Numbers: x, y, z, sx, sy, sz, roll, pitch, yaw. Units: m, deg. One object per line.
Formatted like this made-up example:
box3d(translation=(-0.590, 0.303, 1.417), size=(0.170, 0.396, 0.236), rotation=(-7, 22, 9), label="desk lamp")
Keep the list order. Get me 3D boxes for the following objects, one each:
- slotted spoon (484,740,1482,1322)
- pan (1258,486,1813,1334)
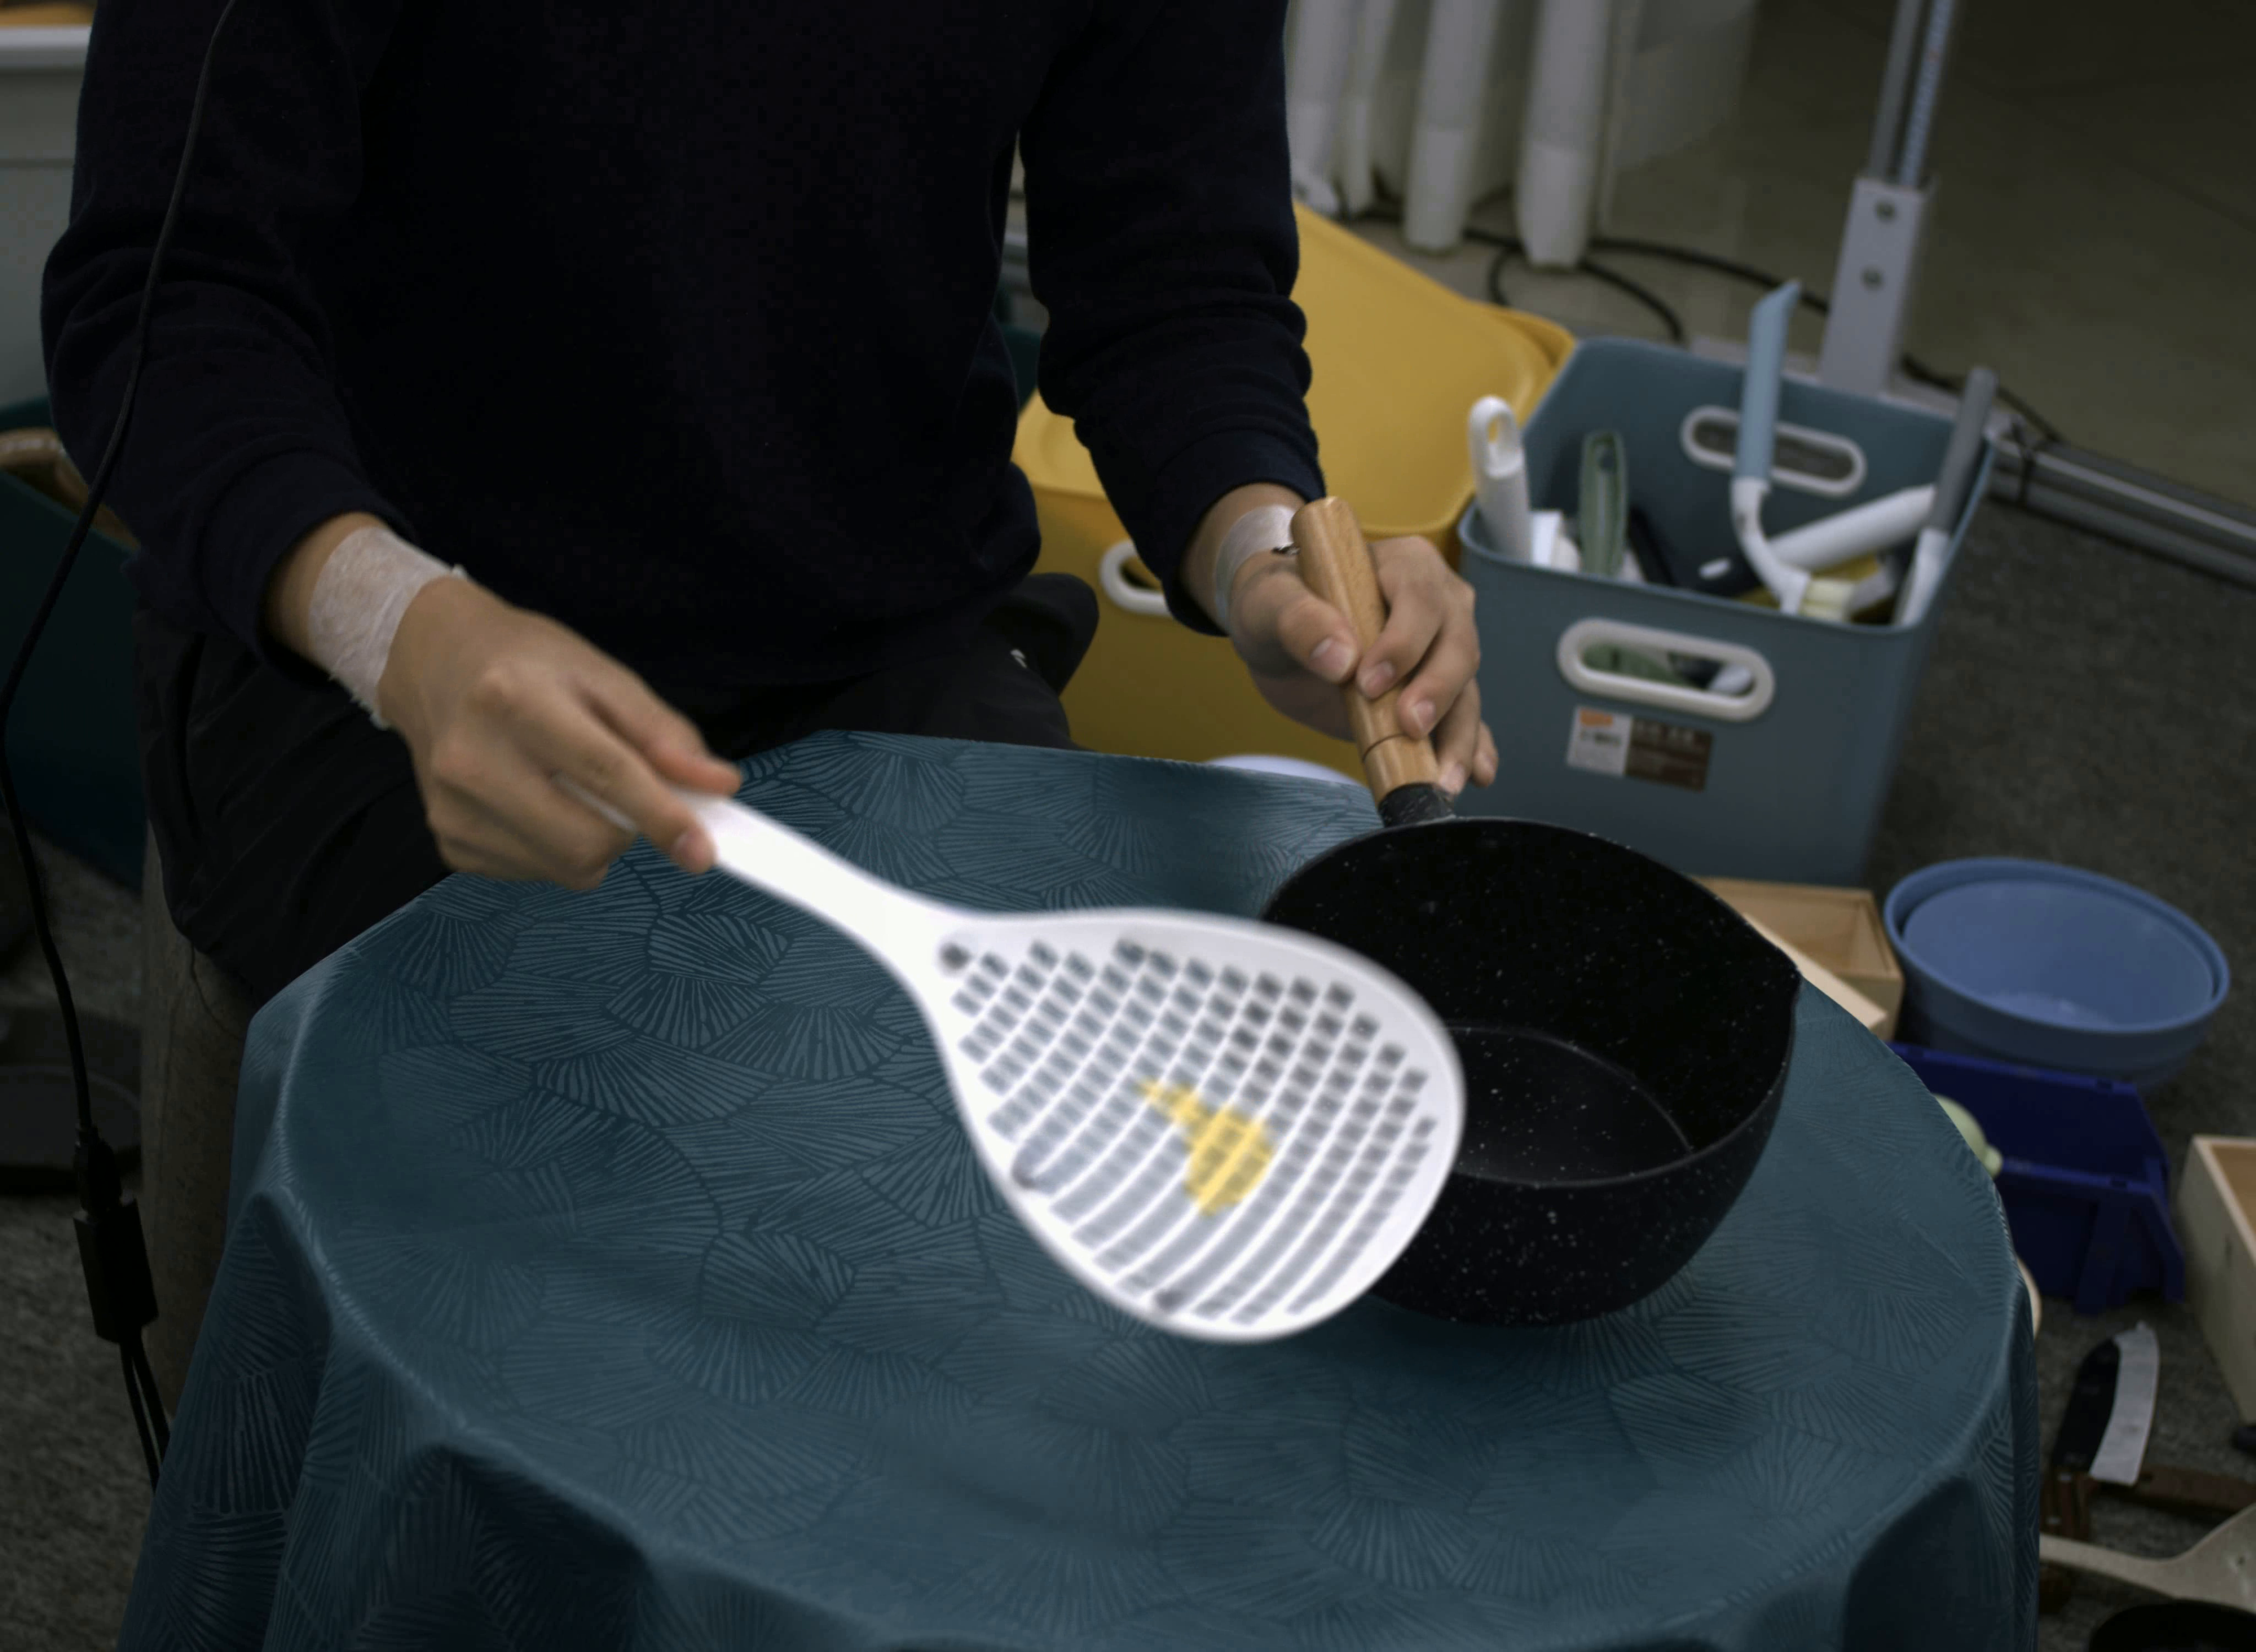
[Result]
box3d(translation=(-0.054, 0.041, 1.661), size=(0.349, 0.050, 0.137), rotation=(28, 71, 14), label="slotted spoon")
box3d(translation=(0.106, 0.027, 1.830), size=(0.206, 0.107, 0.346), rotation=(-7, 43, -13), label="pan")
